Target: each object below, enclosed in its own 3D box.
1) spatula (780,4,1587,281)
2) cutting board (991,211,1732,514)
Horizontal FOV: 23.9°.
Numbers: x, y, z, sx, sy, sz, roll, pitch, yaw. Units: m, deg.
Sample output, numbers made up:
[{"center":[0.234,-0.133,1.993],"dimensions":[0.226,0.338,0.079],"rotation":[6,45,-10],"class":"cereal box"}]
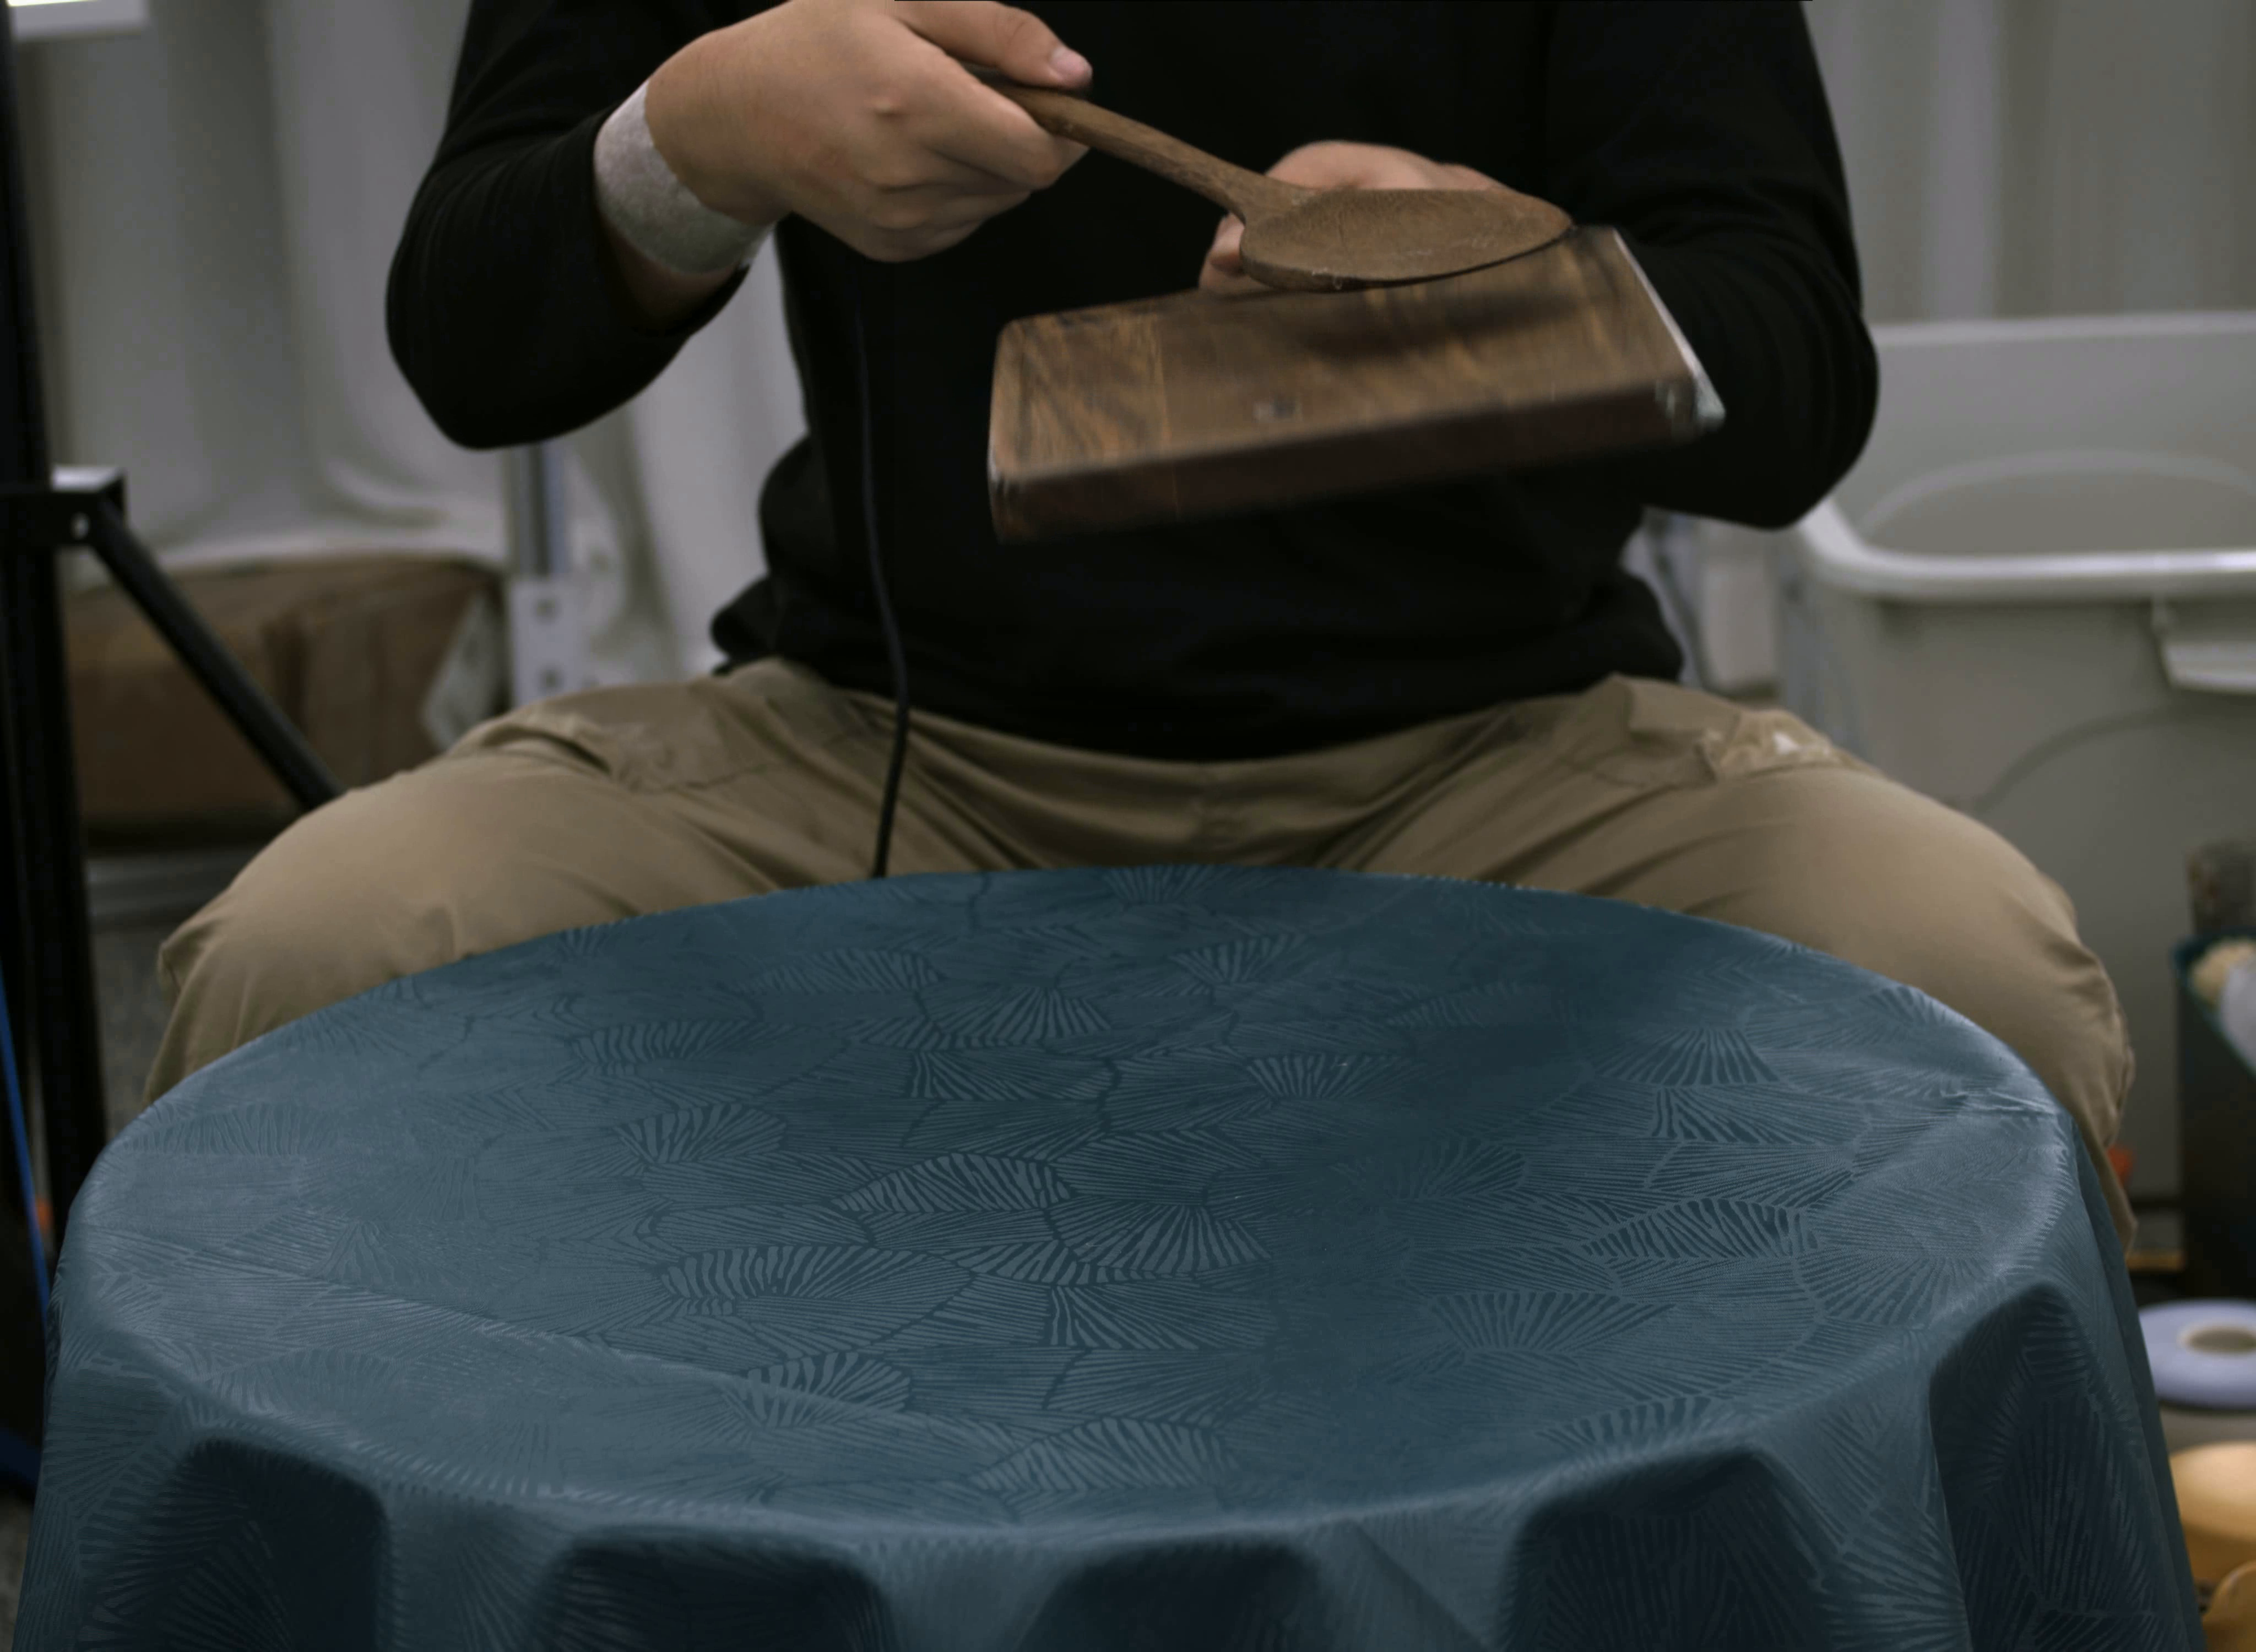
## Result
[{"center":[-0.004,-0.220,1.687],"dimensions":[0.094,0.016,0.395],"rotation":[-19,28,-29],"class":"spatula"},{"center":[0.059,-0.149,1.589],"dimensions":[0.200,0.023,0.353],"rotation":[-9,14,1],"class":"cutting board"}]
